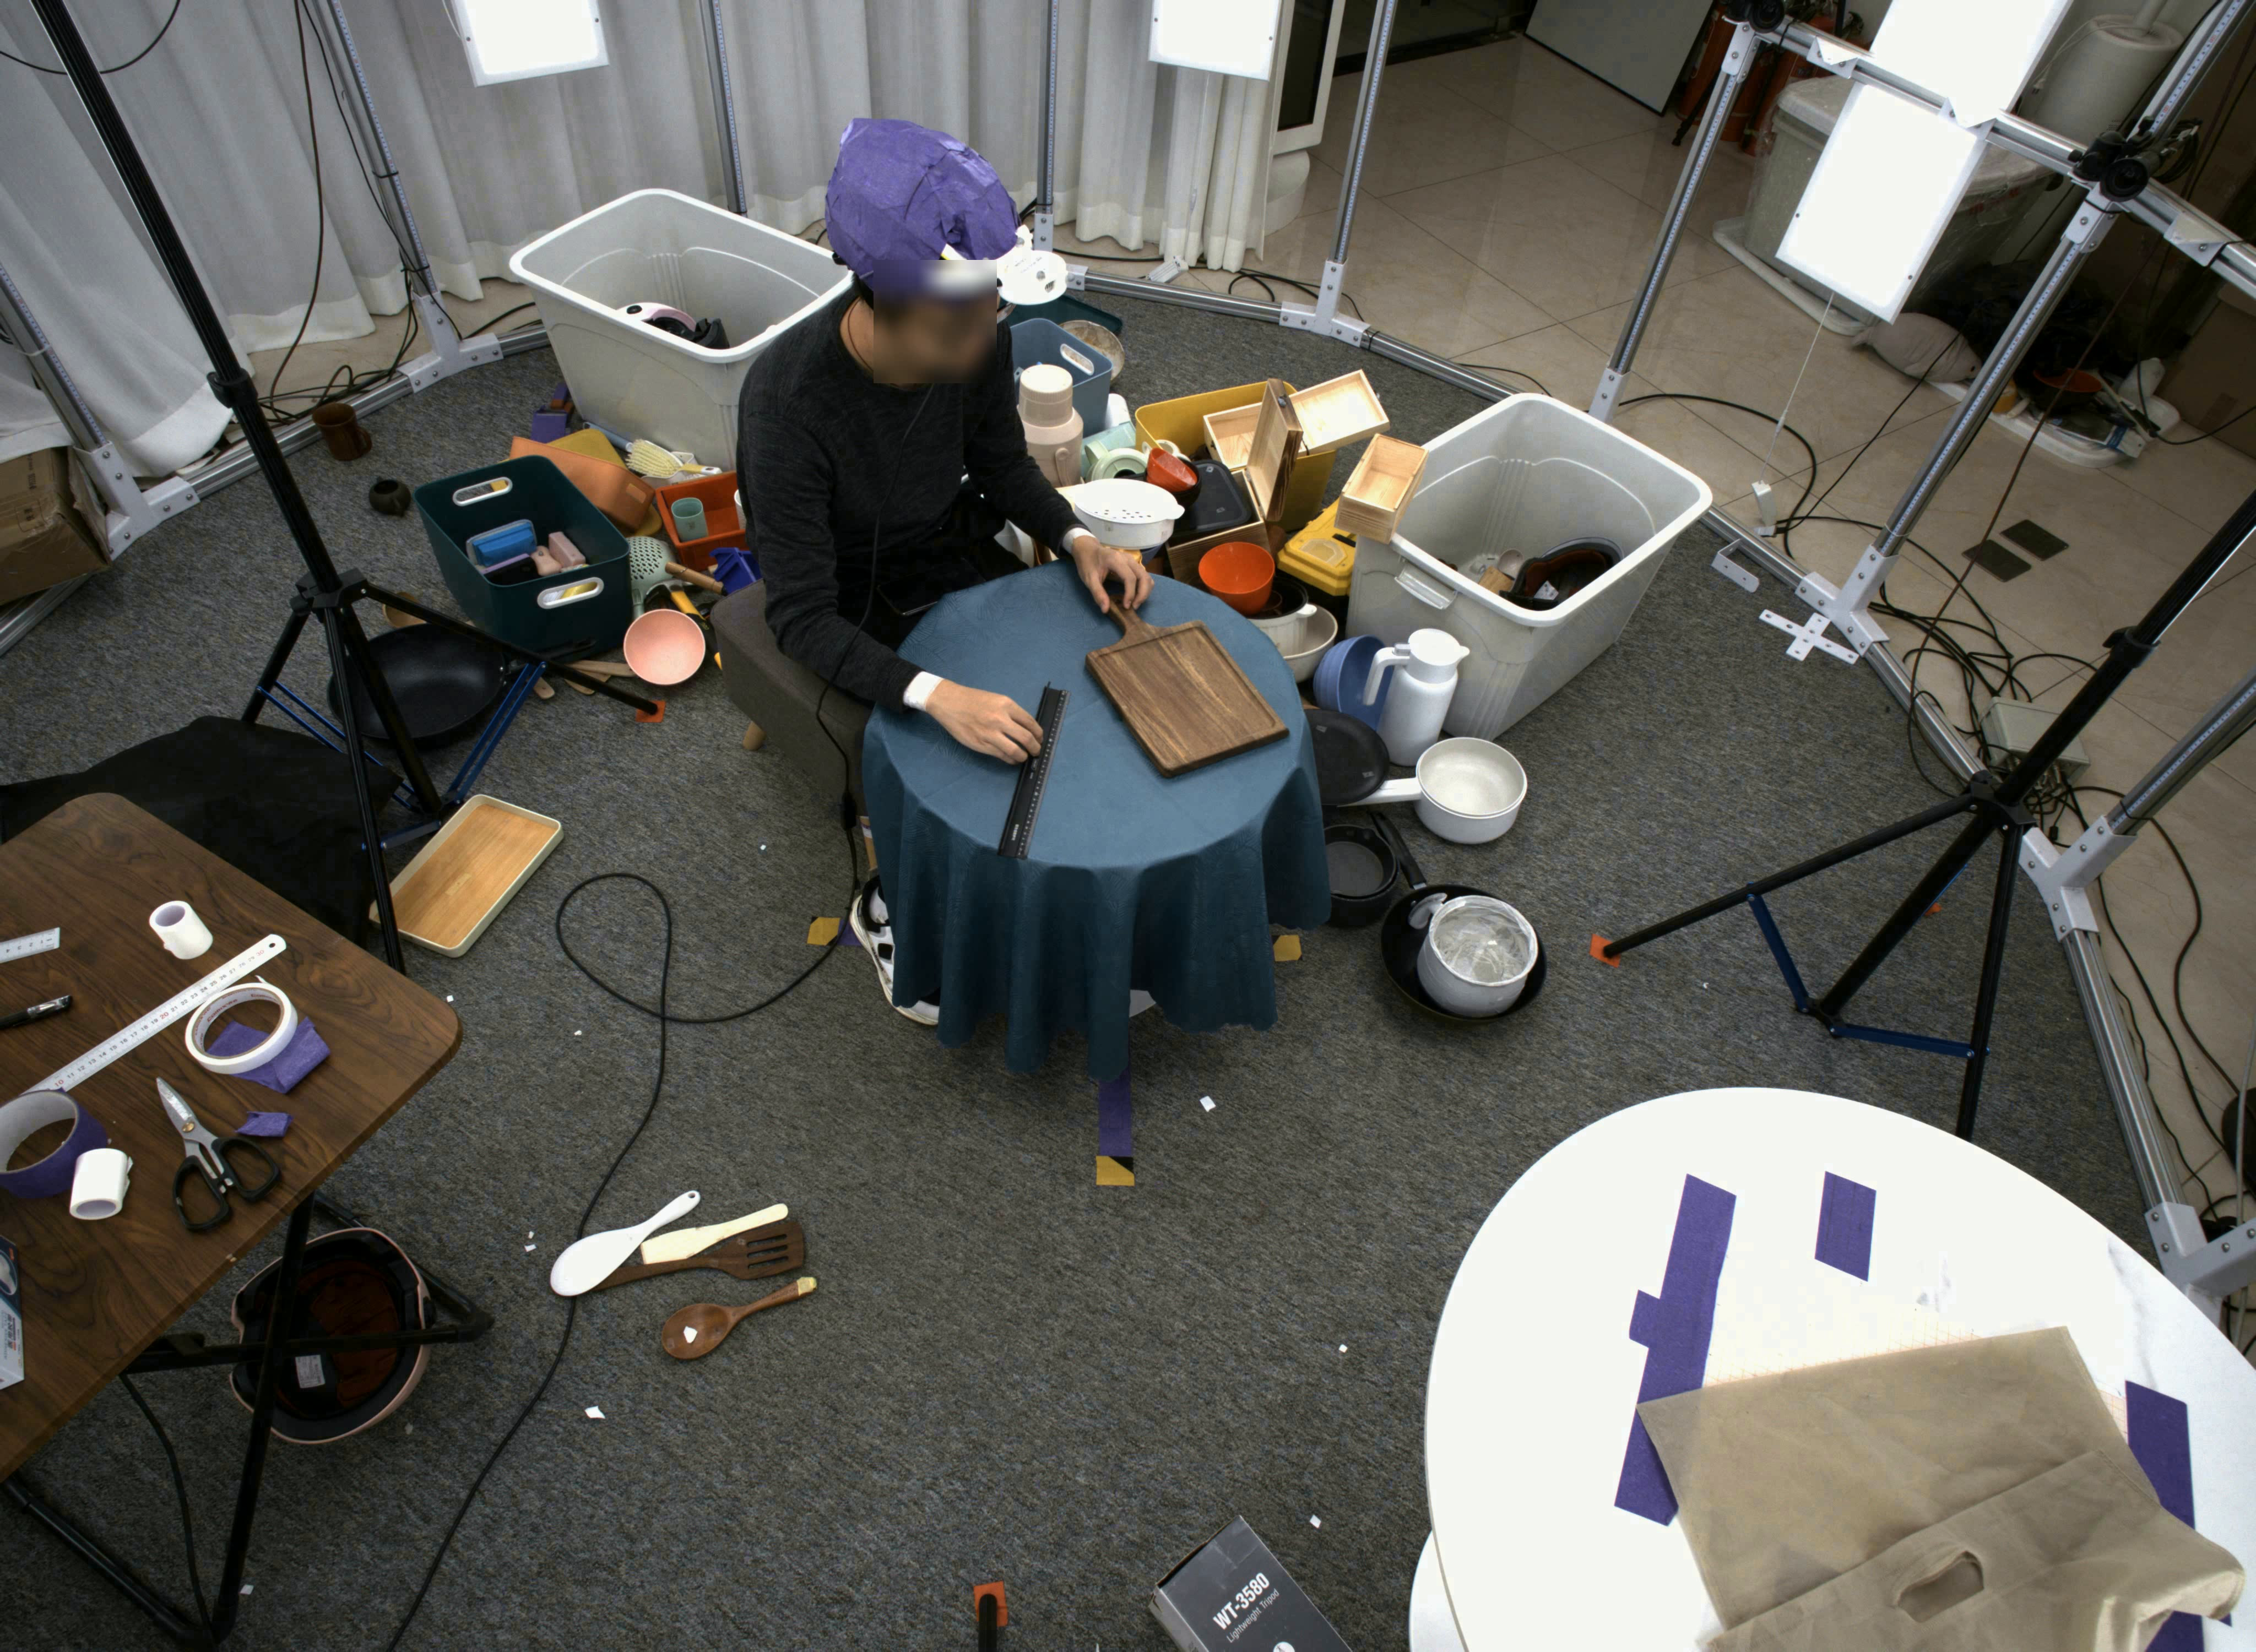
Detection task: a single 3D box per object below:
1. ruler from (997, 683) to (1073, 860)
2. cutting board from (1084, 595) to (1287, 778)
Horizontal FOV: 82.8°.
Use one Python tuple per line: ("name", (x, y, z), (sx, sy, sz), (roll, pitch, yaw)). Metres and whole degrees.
("ruler", (-0.122, -0.081, 1.722), (0.039, 0.017, 0.320), (11, 49, 2))
("cutting board", (0.056, -0.222, 1.853), (0.201, 0.022, 0.360), (-20, 53, -20))
